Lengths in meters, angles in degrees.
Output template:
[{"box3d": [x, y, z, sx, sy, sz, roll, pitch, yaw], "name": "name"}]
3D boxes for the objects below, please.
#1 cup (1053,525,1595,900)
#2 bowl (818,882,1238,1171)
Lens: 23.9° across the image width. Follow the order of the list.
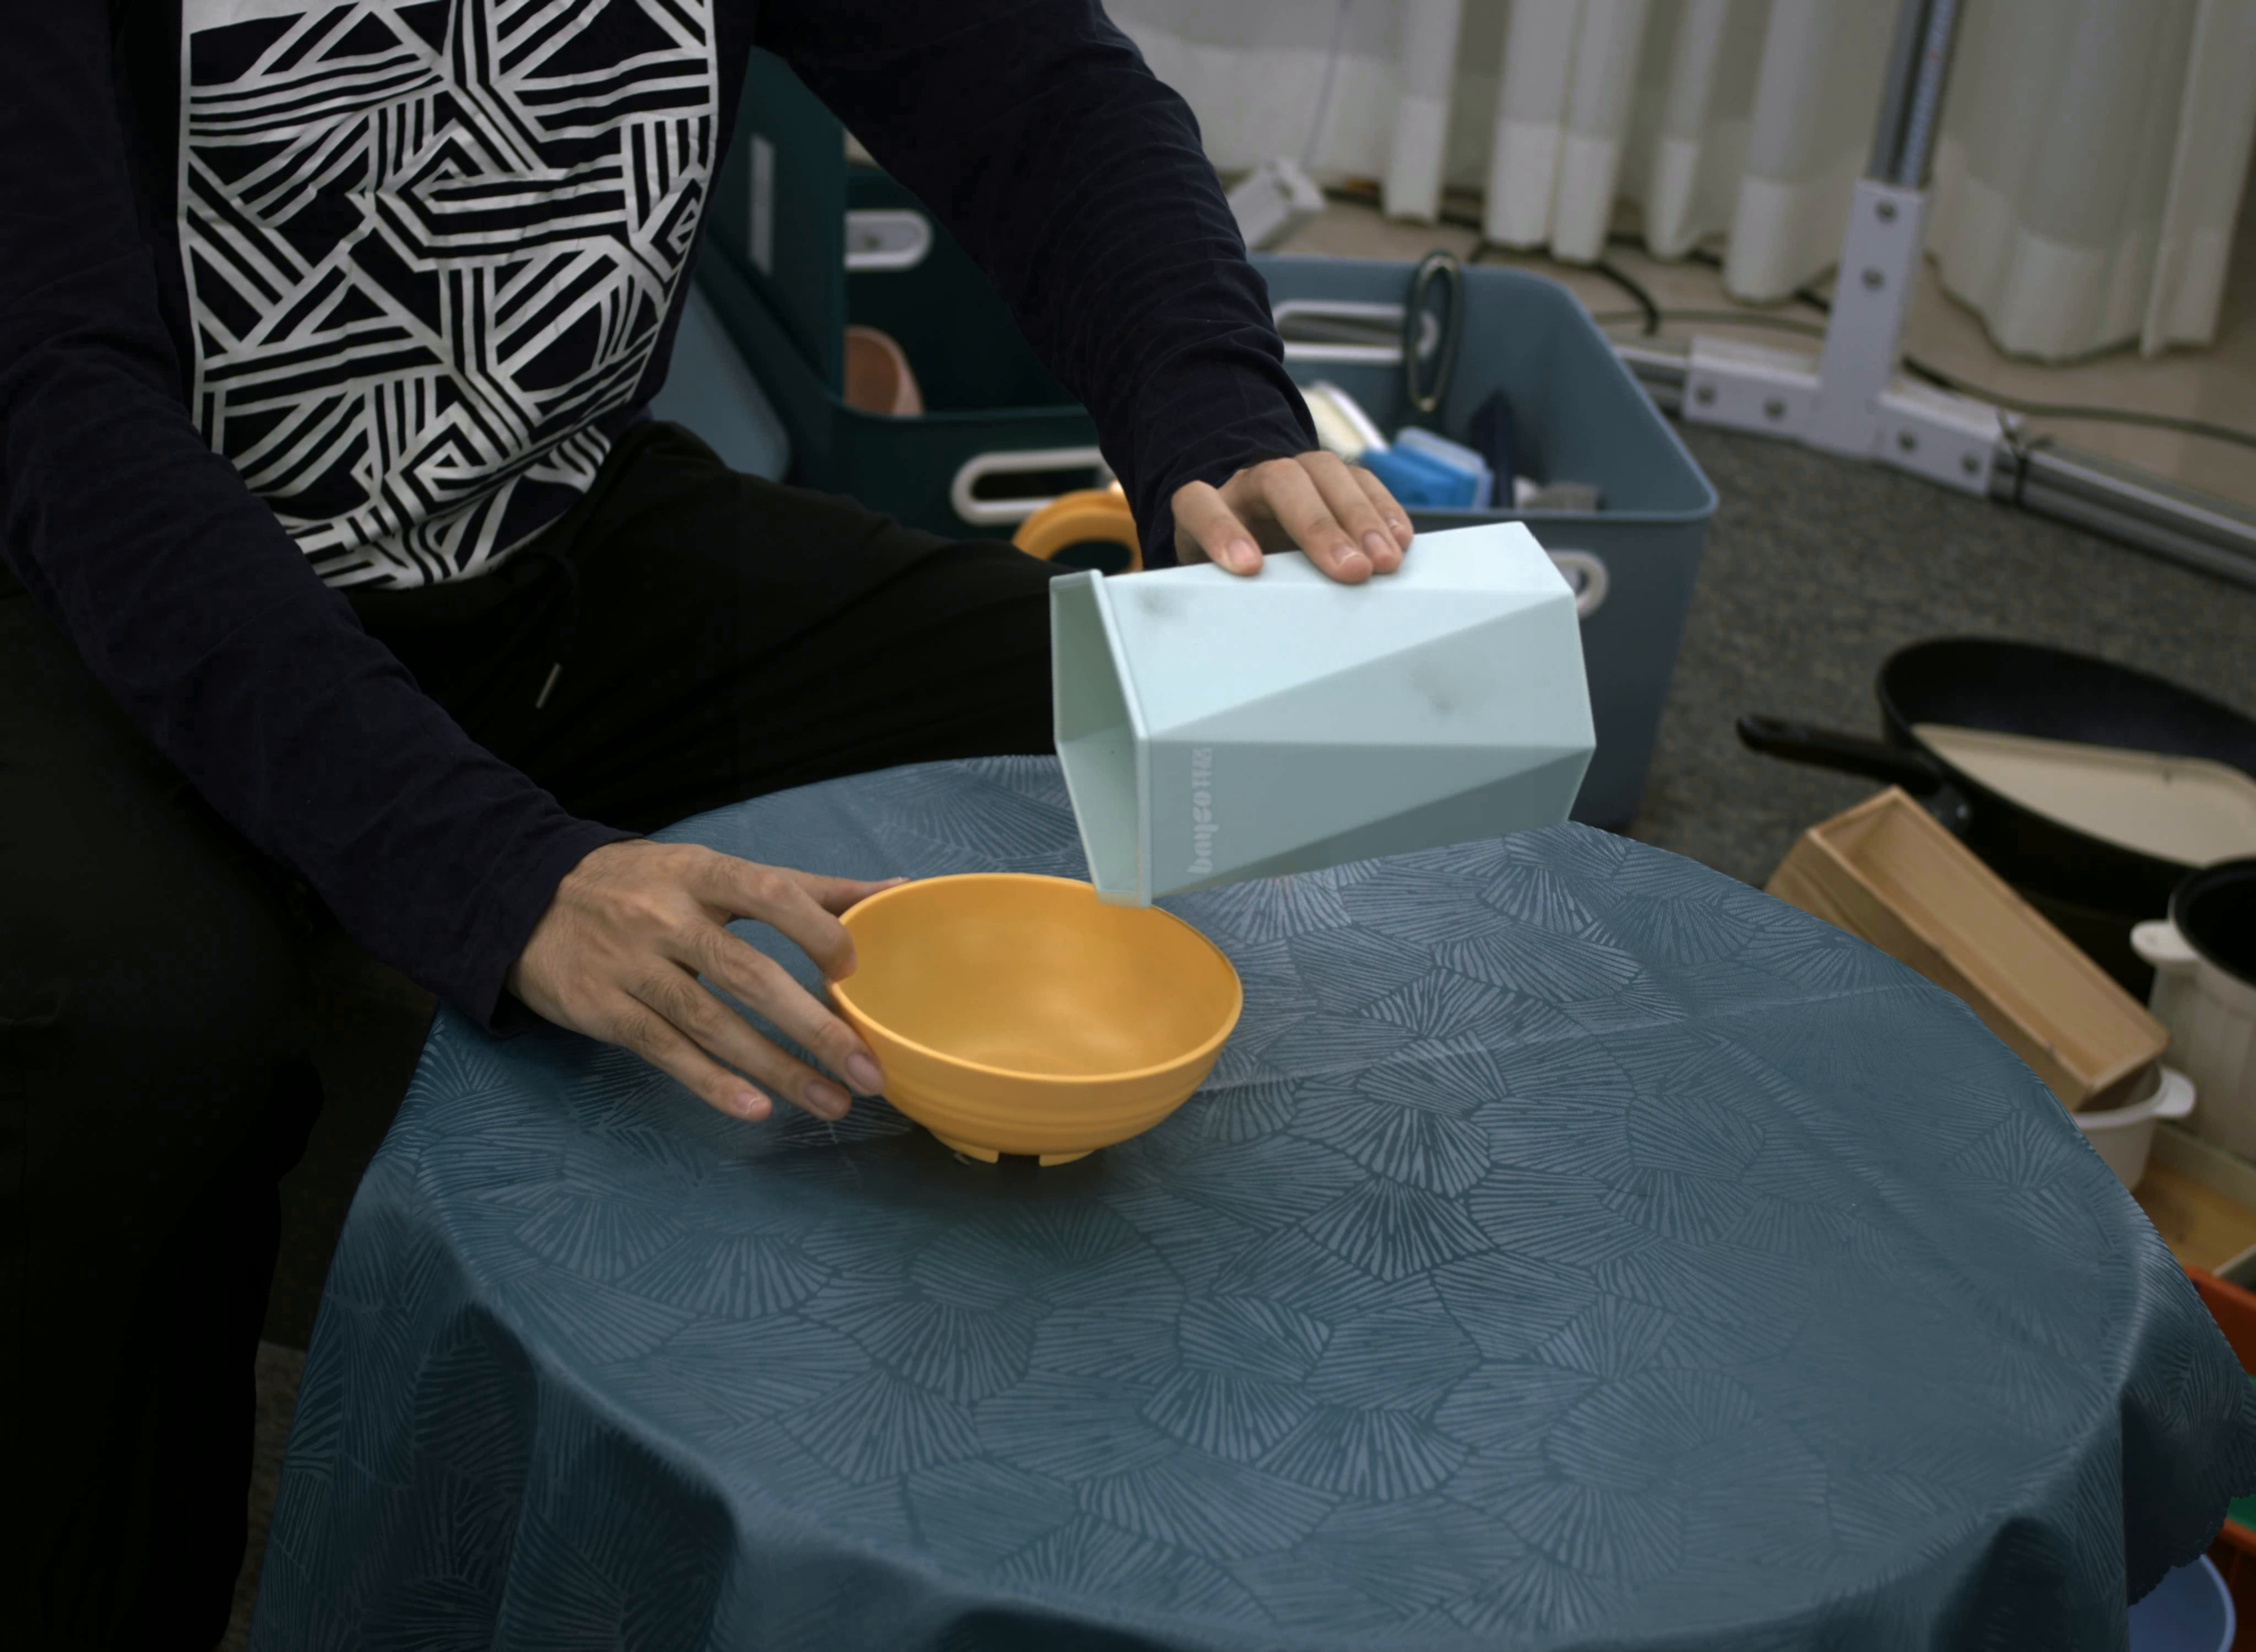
[{"box3d": [0.066, -0.042, 1.812, 0.162, 0.130, 0.116, -7, 29, -12], "name": "cup"}, {"box3d": [-0.036, 0.077, 1.829, 0.145, 0.060, 0.146, 5, 25, -3], "name": "bowl"}]
